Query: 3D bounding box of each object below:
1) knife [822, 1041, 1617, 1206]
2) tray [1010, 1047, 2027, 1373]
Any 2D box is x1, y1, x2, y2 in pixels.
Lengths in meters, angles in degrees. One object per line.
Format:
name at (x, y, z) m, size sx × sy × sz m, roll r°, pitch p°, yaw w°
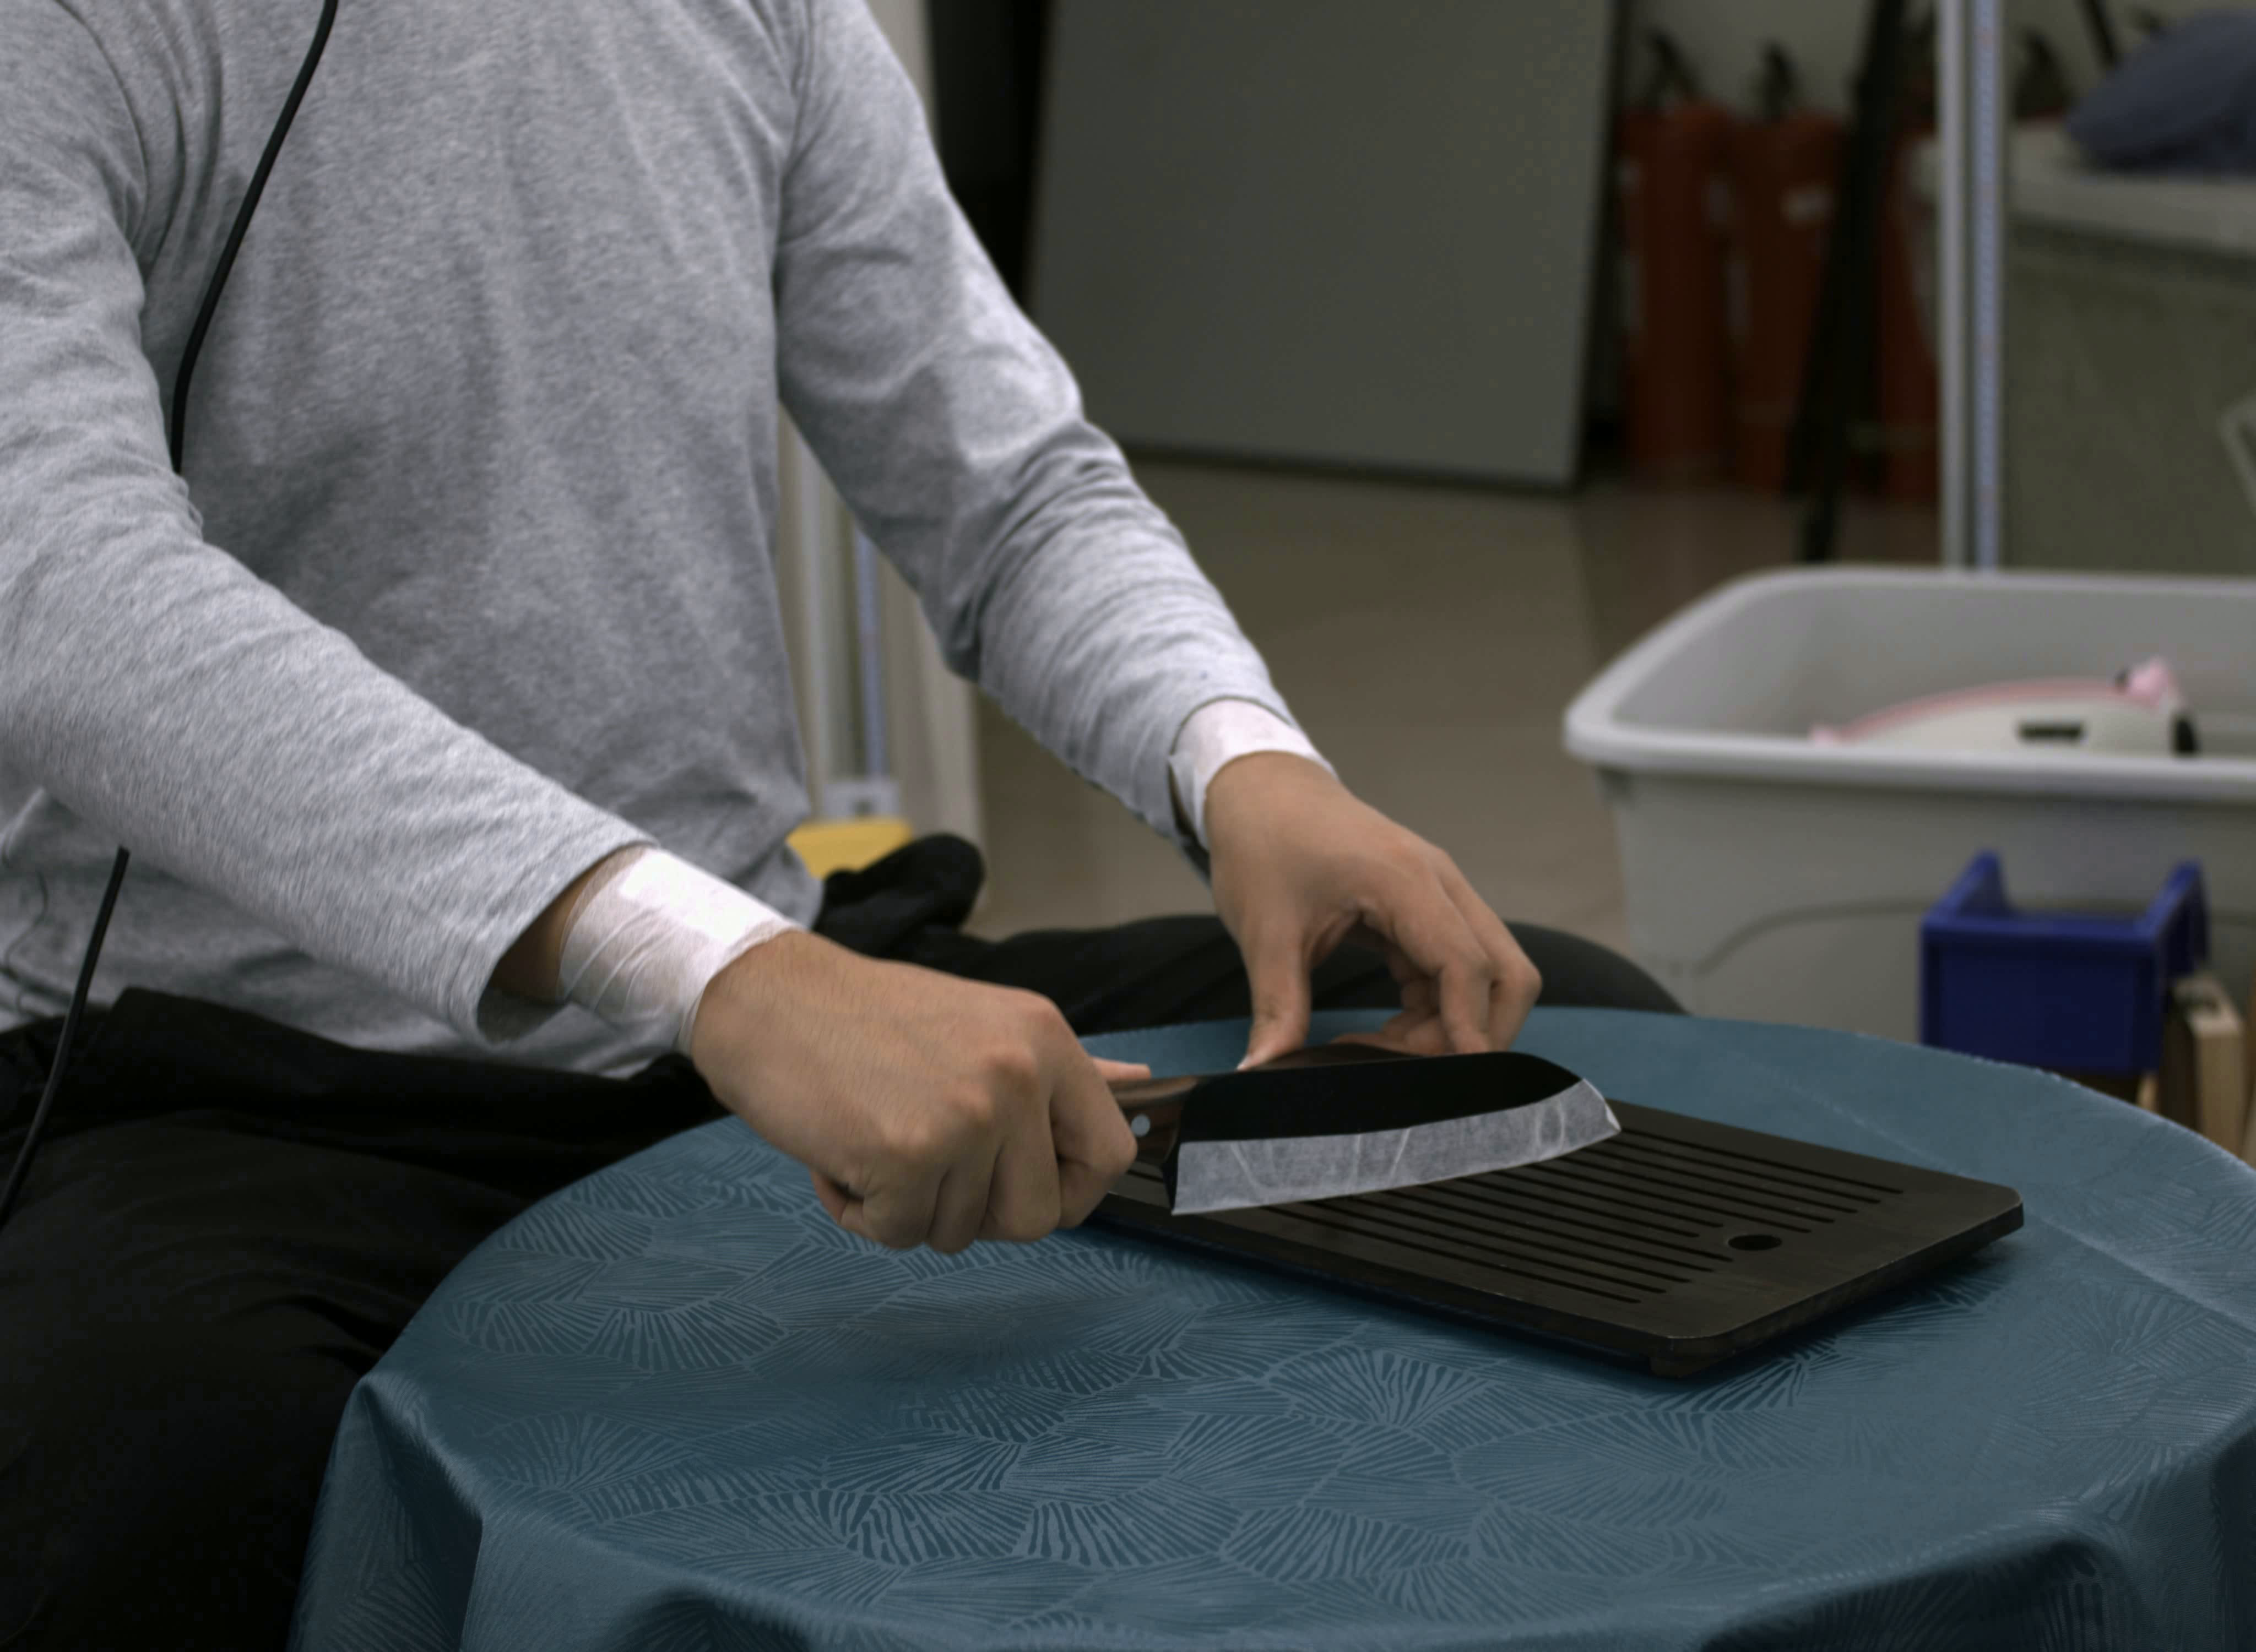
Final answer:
knife at (0.034, 0.093, 1.668) m, size 0.282 × 0.051 × 0.020 m, roll 0°, pitch 11°, yaw -29°
tray at (0.120, 0.119, 1.713) m, size 0.166 × 0.019 × 0.309 m, roll -16°, pitch 18°, yaw -40°
